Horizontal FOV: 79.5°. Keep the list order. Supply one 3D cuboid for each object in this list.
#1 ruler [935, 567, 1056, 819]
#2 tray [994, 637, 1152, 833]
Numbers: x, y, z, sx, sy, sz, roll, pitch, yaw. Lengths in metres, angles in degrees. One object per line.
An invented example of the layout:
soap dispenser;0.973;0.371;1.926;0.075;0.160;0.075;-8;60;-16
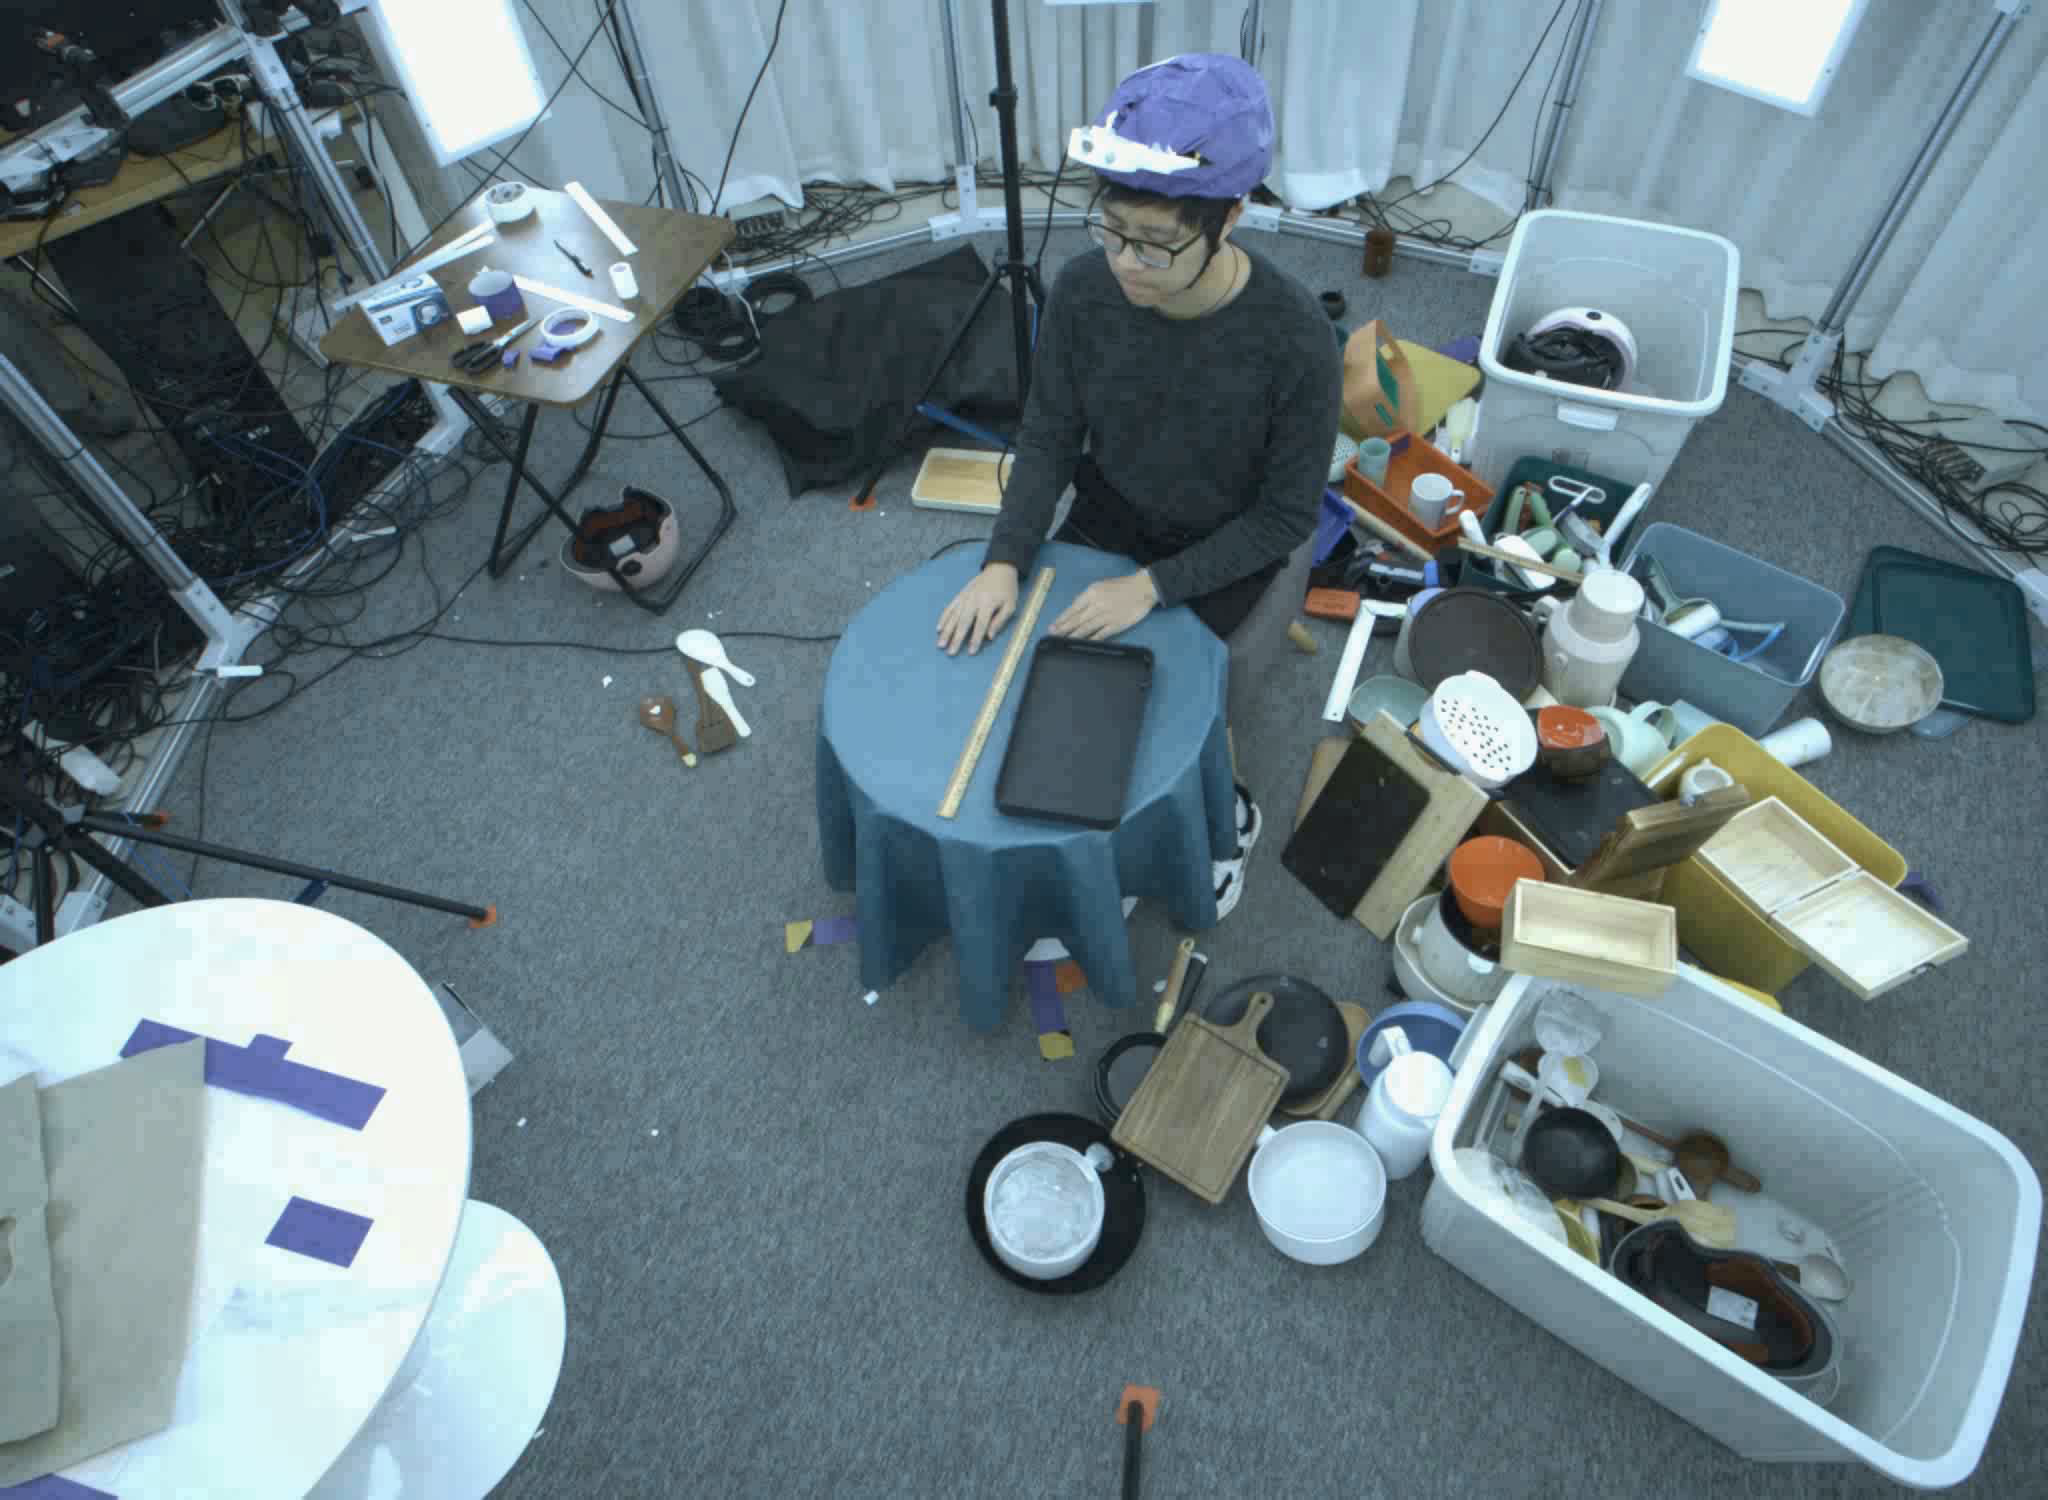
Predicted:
ruler;-0.036;-0.101;1.857;0.026;0.006;0.499;16;57;10
tray;0.075;-0.028;1.783;0.183;0.037;0.316;8;55;7
